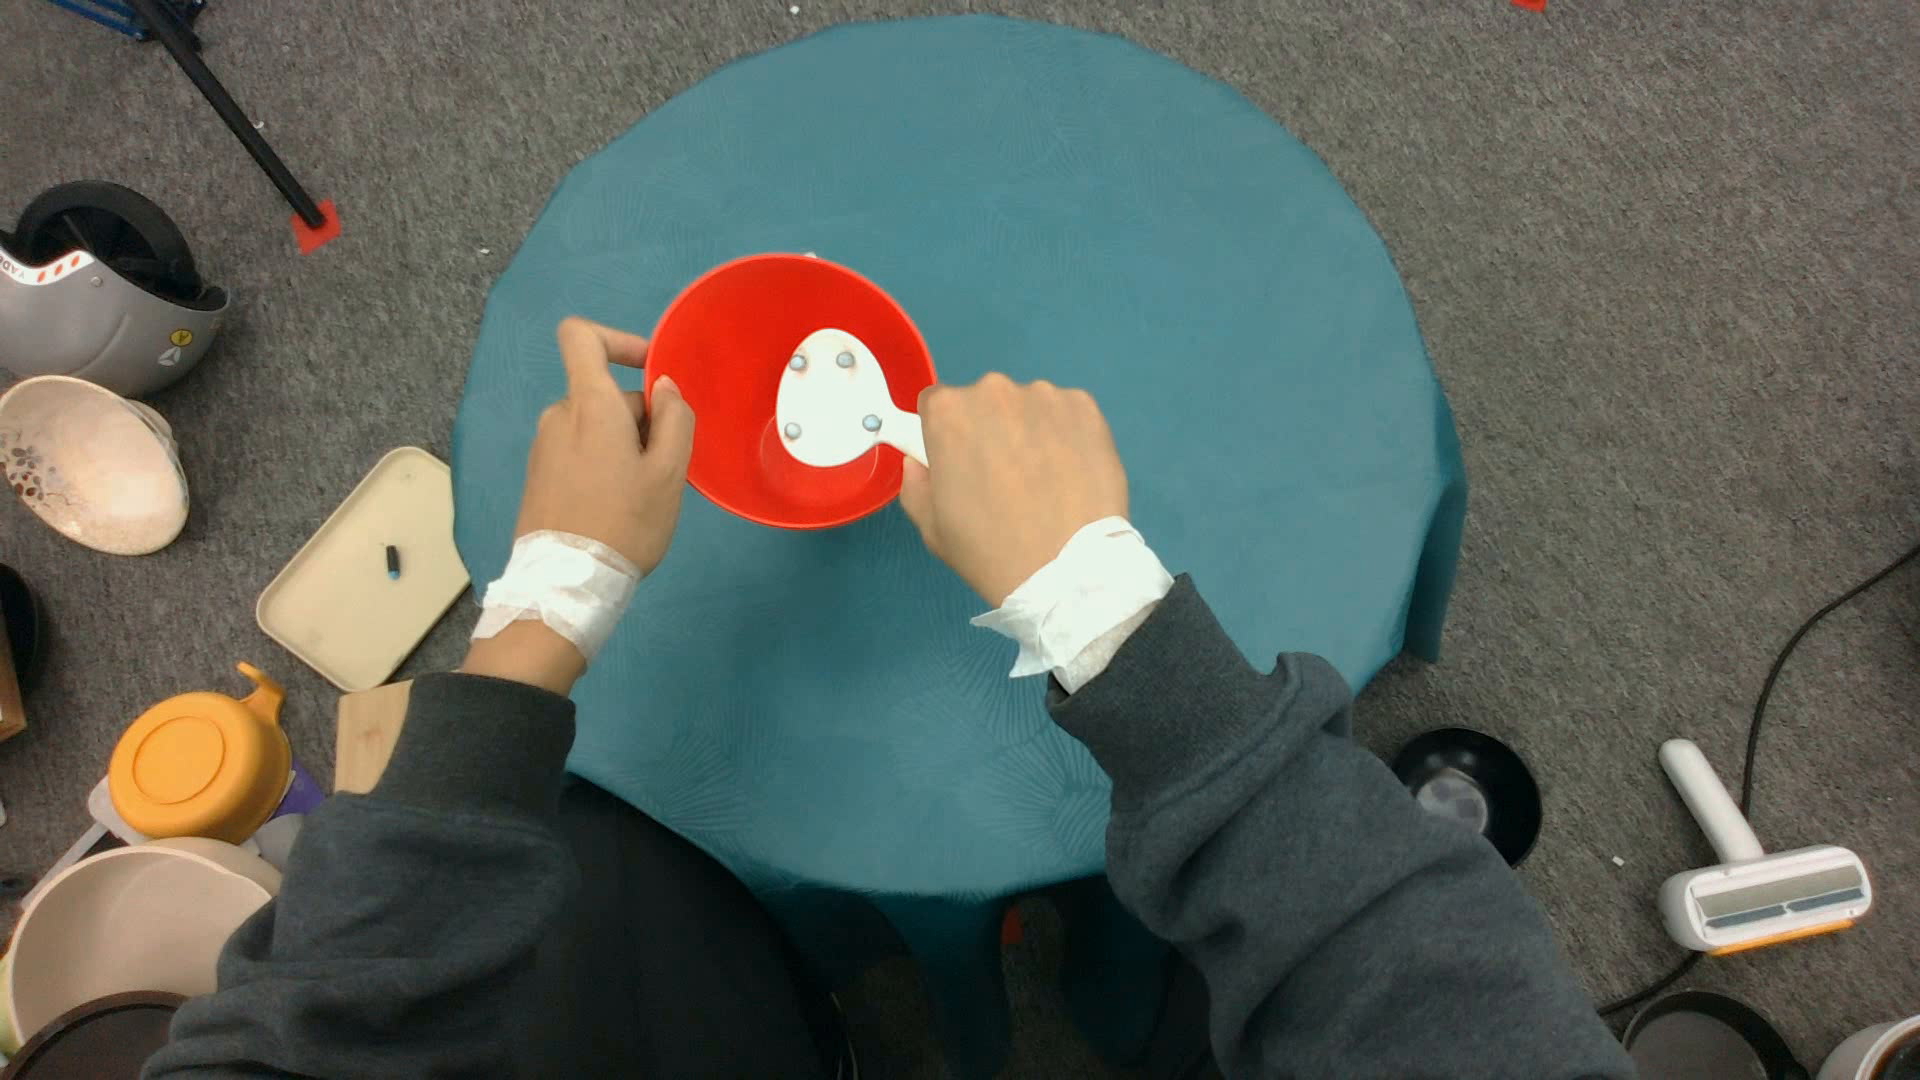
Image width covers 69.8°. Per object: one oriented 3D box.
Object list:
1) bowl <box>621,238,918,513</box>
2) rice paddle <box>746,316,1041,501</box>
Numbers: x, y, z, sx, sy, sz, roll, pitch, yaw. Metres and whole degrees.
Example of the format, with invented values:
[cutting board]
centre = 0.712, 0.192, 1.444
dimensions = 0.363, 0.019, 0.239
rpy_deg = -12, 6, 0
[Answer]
[bowl]
centre = -0.098, -0.074, 0.730
dimensions = 0.148, 0.104, 0.148
rpy_deg = 2, 72, -7
[rice paddle]
centre = -0.044, -0.060, 0.642
dimensions = 0.205, 0.029, 0.069
rpy_deg = 24, 96, 44
